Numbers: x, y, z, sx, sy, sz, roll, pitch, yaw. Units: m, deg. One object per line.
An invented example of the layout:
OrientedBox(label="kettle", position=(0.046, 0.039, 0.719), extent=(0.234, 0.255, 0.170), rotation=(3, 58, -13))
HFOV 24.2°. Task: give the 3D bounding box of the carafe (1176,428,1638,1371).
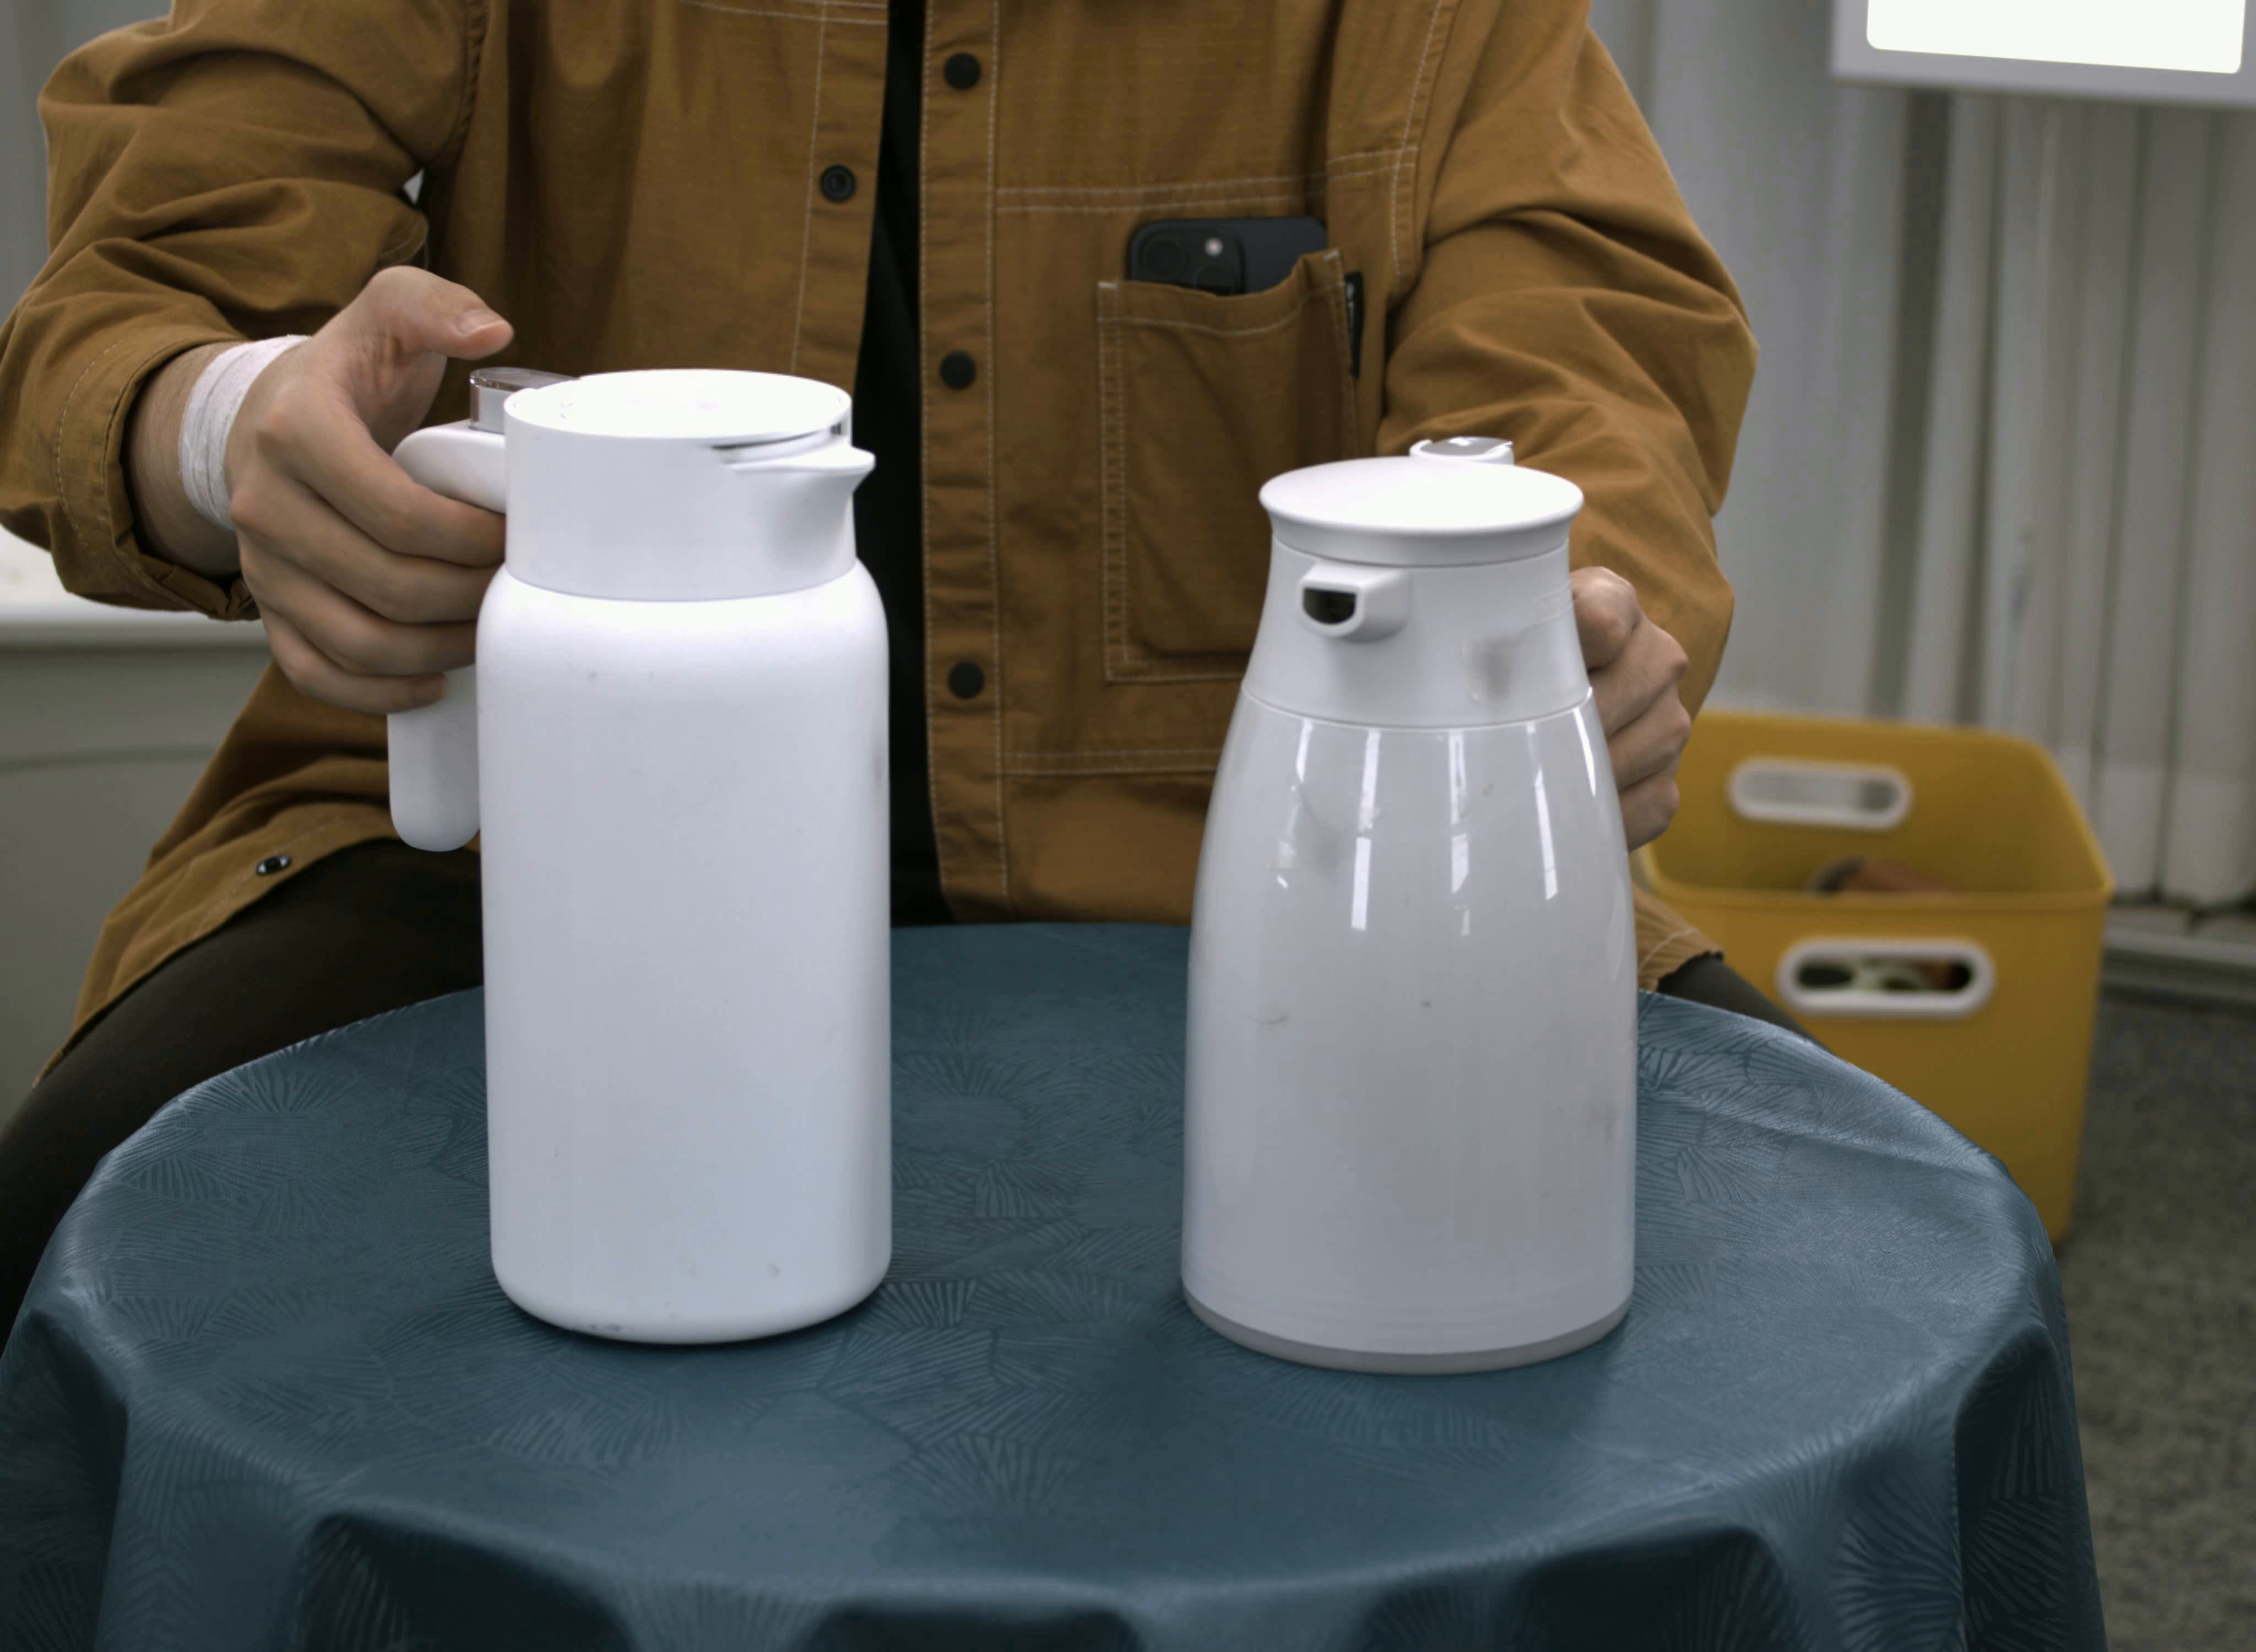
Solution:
OrientedBox(label="carafe", position=(0.089, 0.012, 1.520), extent=(0.131, 0.250, 0.168), rotation=(8, 17, 24))

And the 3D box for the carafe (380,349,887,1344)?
OrientedBox(label="carafe", position=(-0.142, 0.003, 1.509), extent=(0.170, 0.271, 0.124), rotation=(11, 21, 33))
